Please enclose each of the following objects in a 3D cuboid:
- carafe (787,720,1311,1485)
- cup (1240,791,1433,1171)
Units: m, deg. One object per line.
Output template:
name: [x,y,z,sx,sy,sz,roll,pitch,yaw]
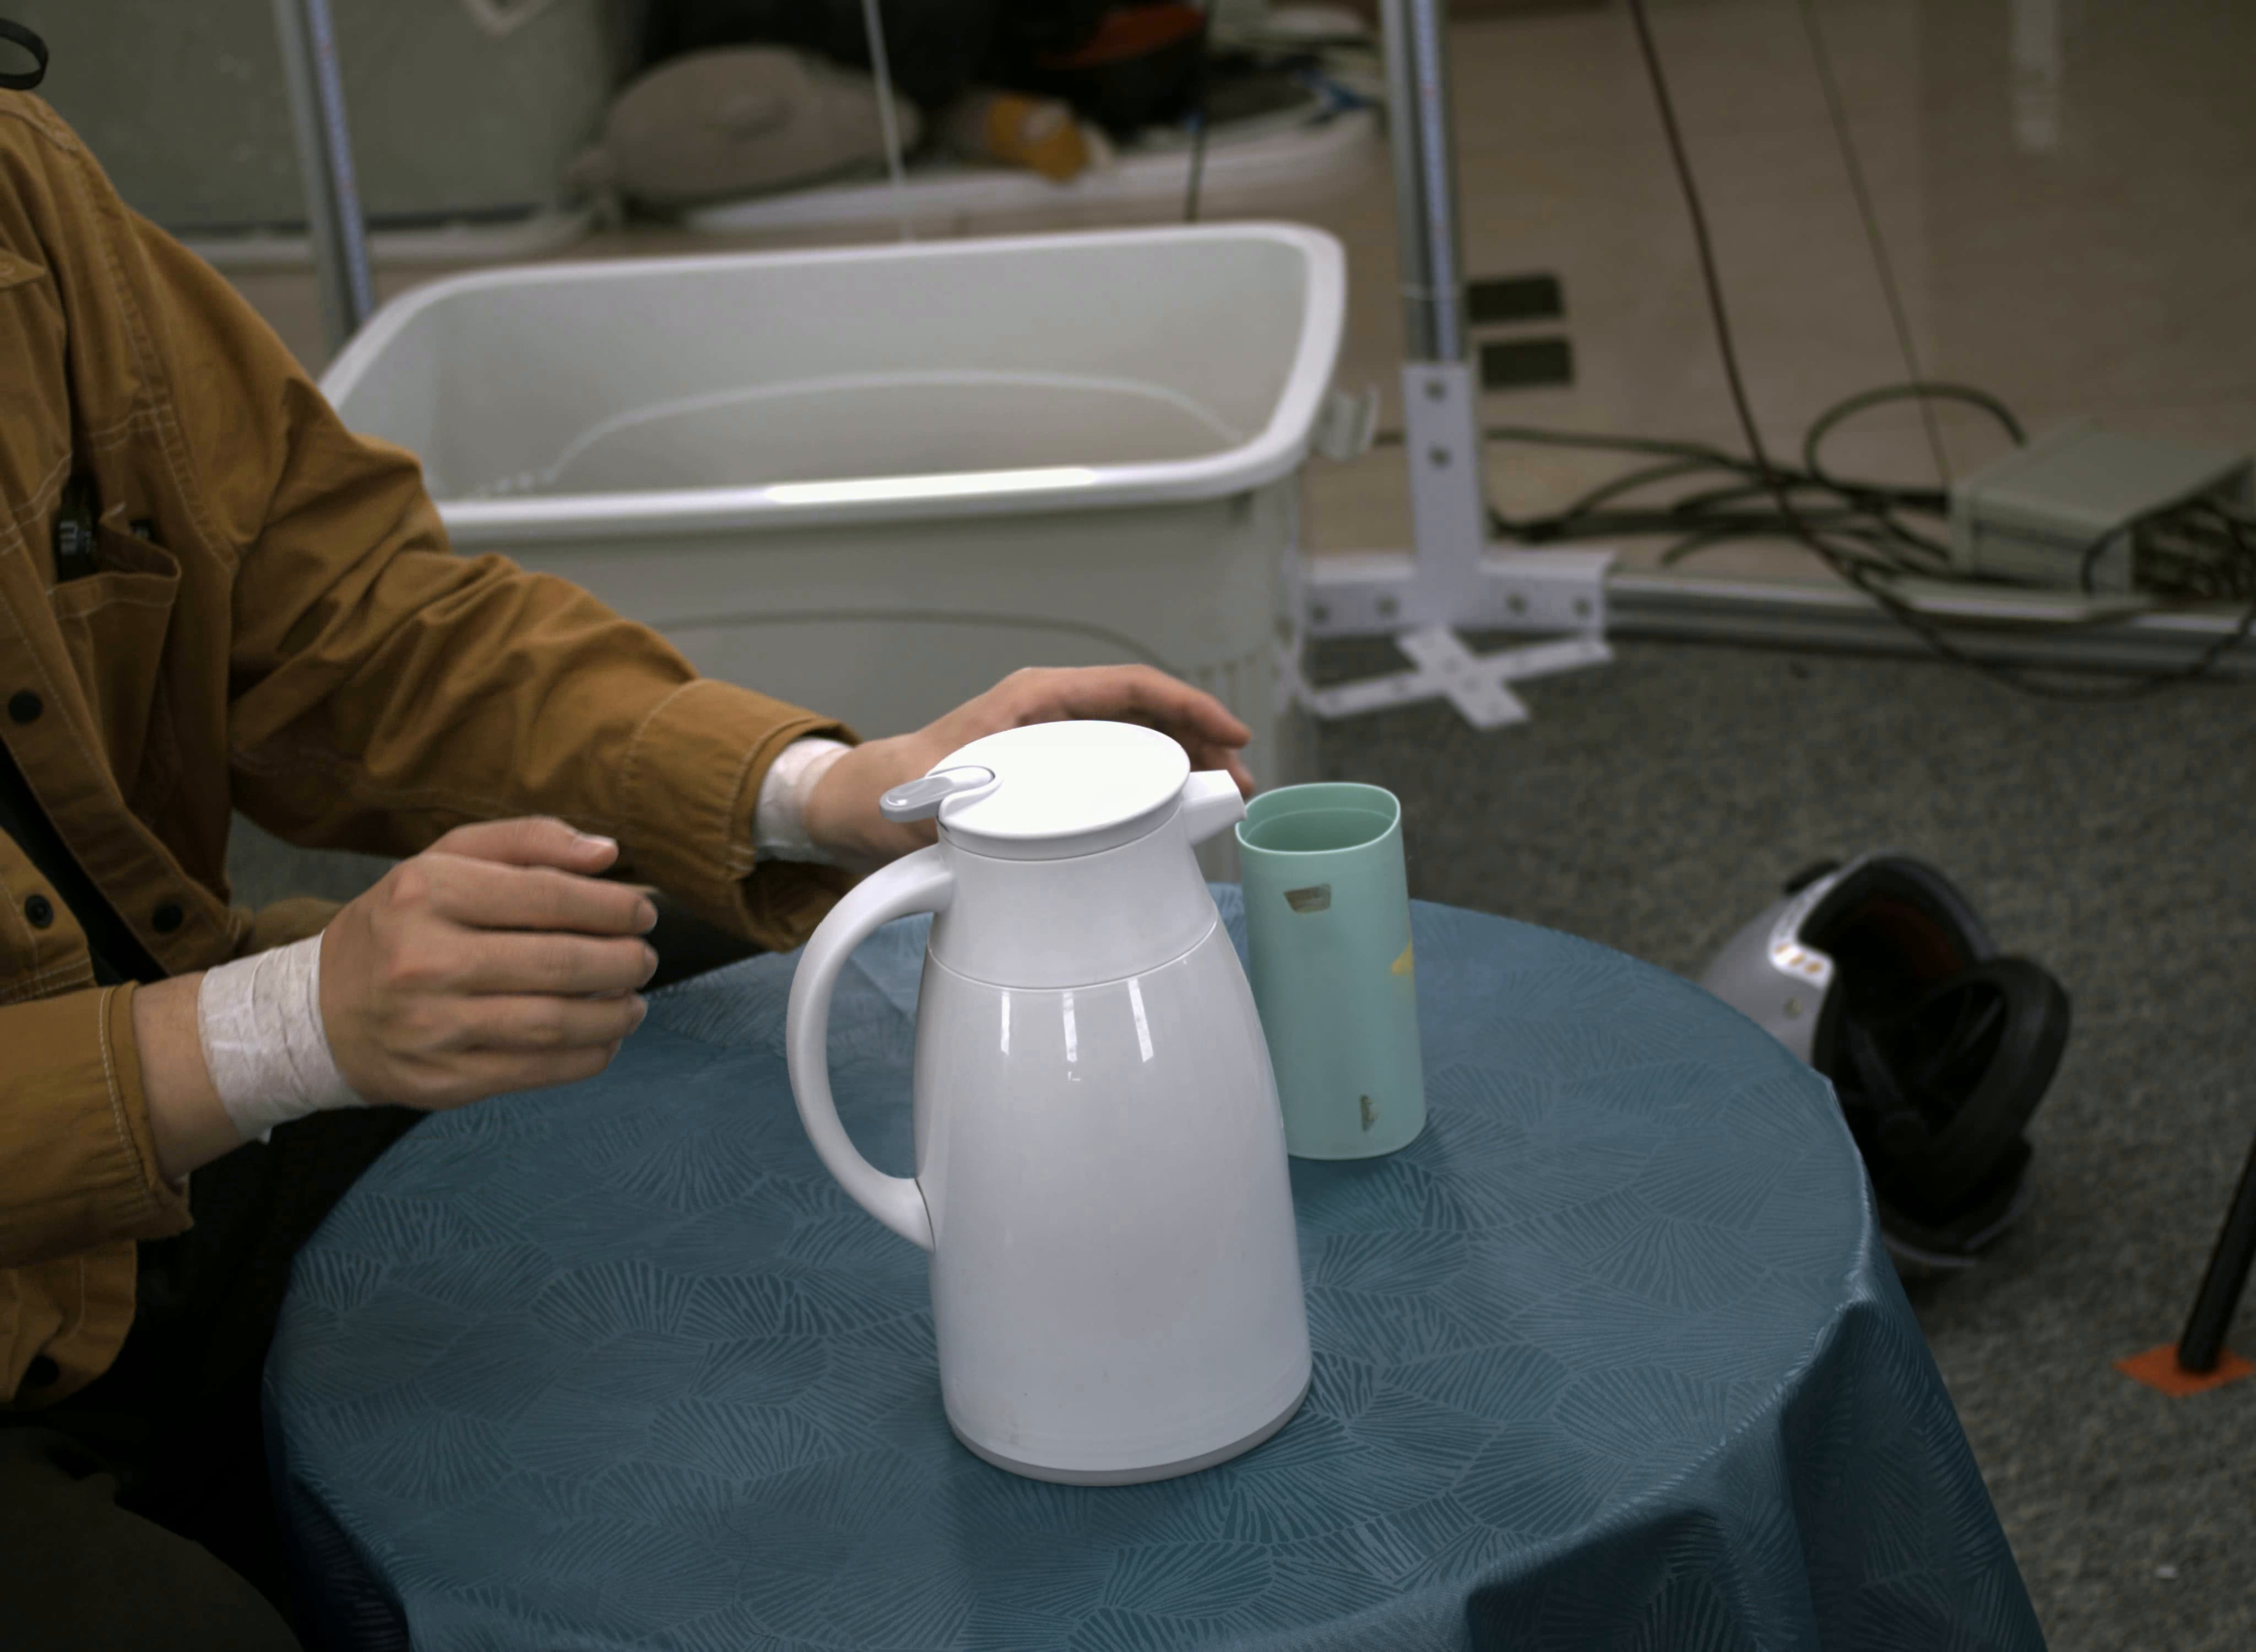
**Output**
carafe: [-0.031,0.093,1.959,0.167,0.252,0.130,-12,27,-10]
cup: [0.079,0.059,2.154,0.066,0.134,0.066,-5,25,3]
